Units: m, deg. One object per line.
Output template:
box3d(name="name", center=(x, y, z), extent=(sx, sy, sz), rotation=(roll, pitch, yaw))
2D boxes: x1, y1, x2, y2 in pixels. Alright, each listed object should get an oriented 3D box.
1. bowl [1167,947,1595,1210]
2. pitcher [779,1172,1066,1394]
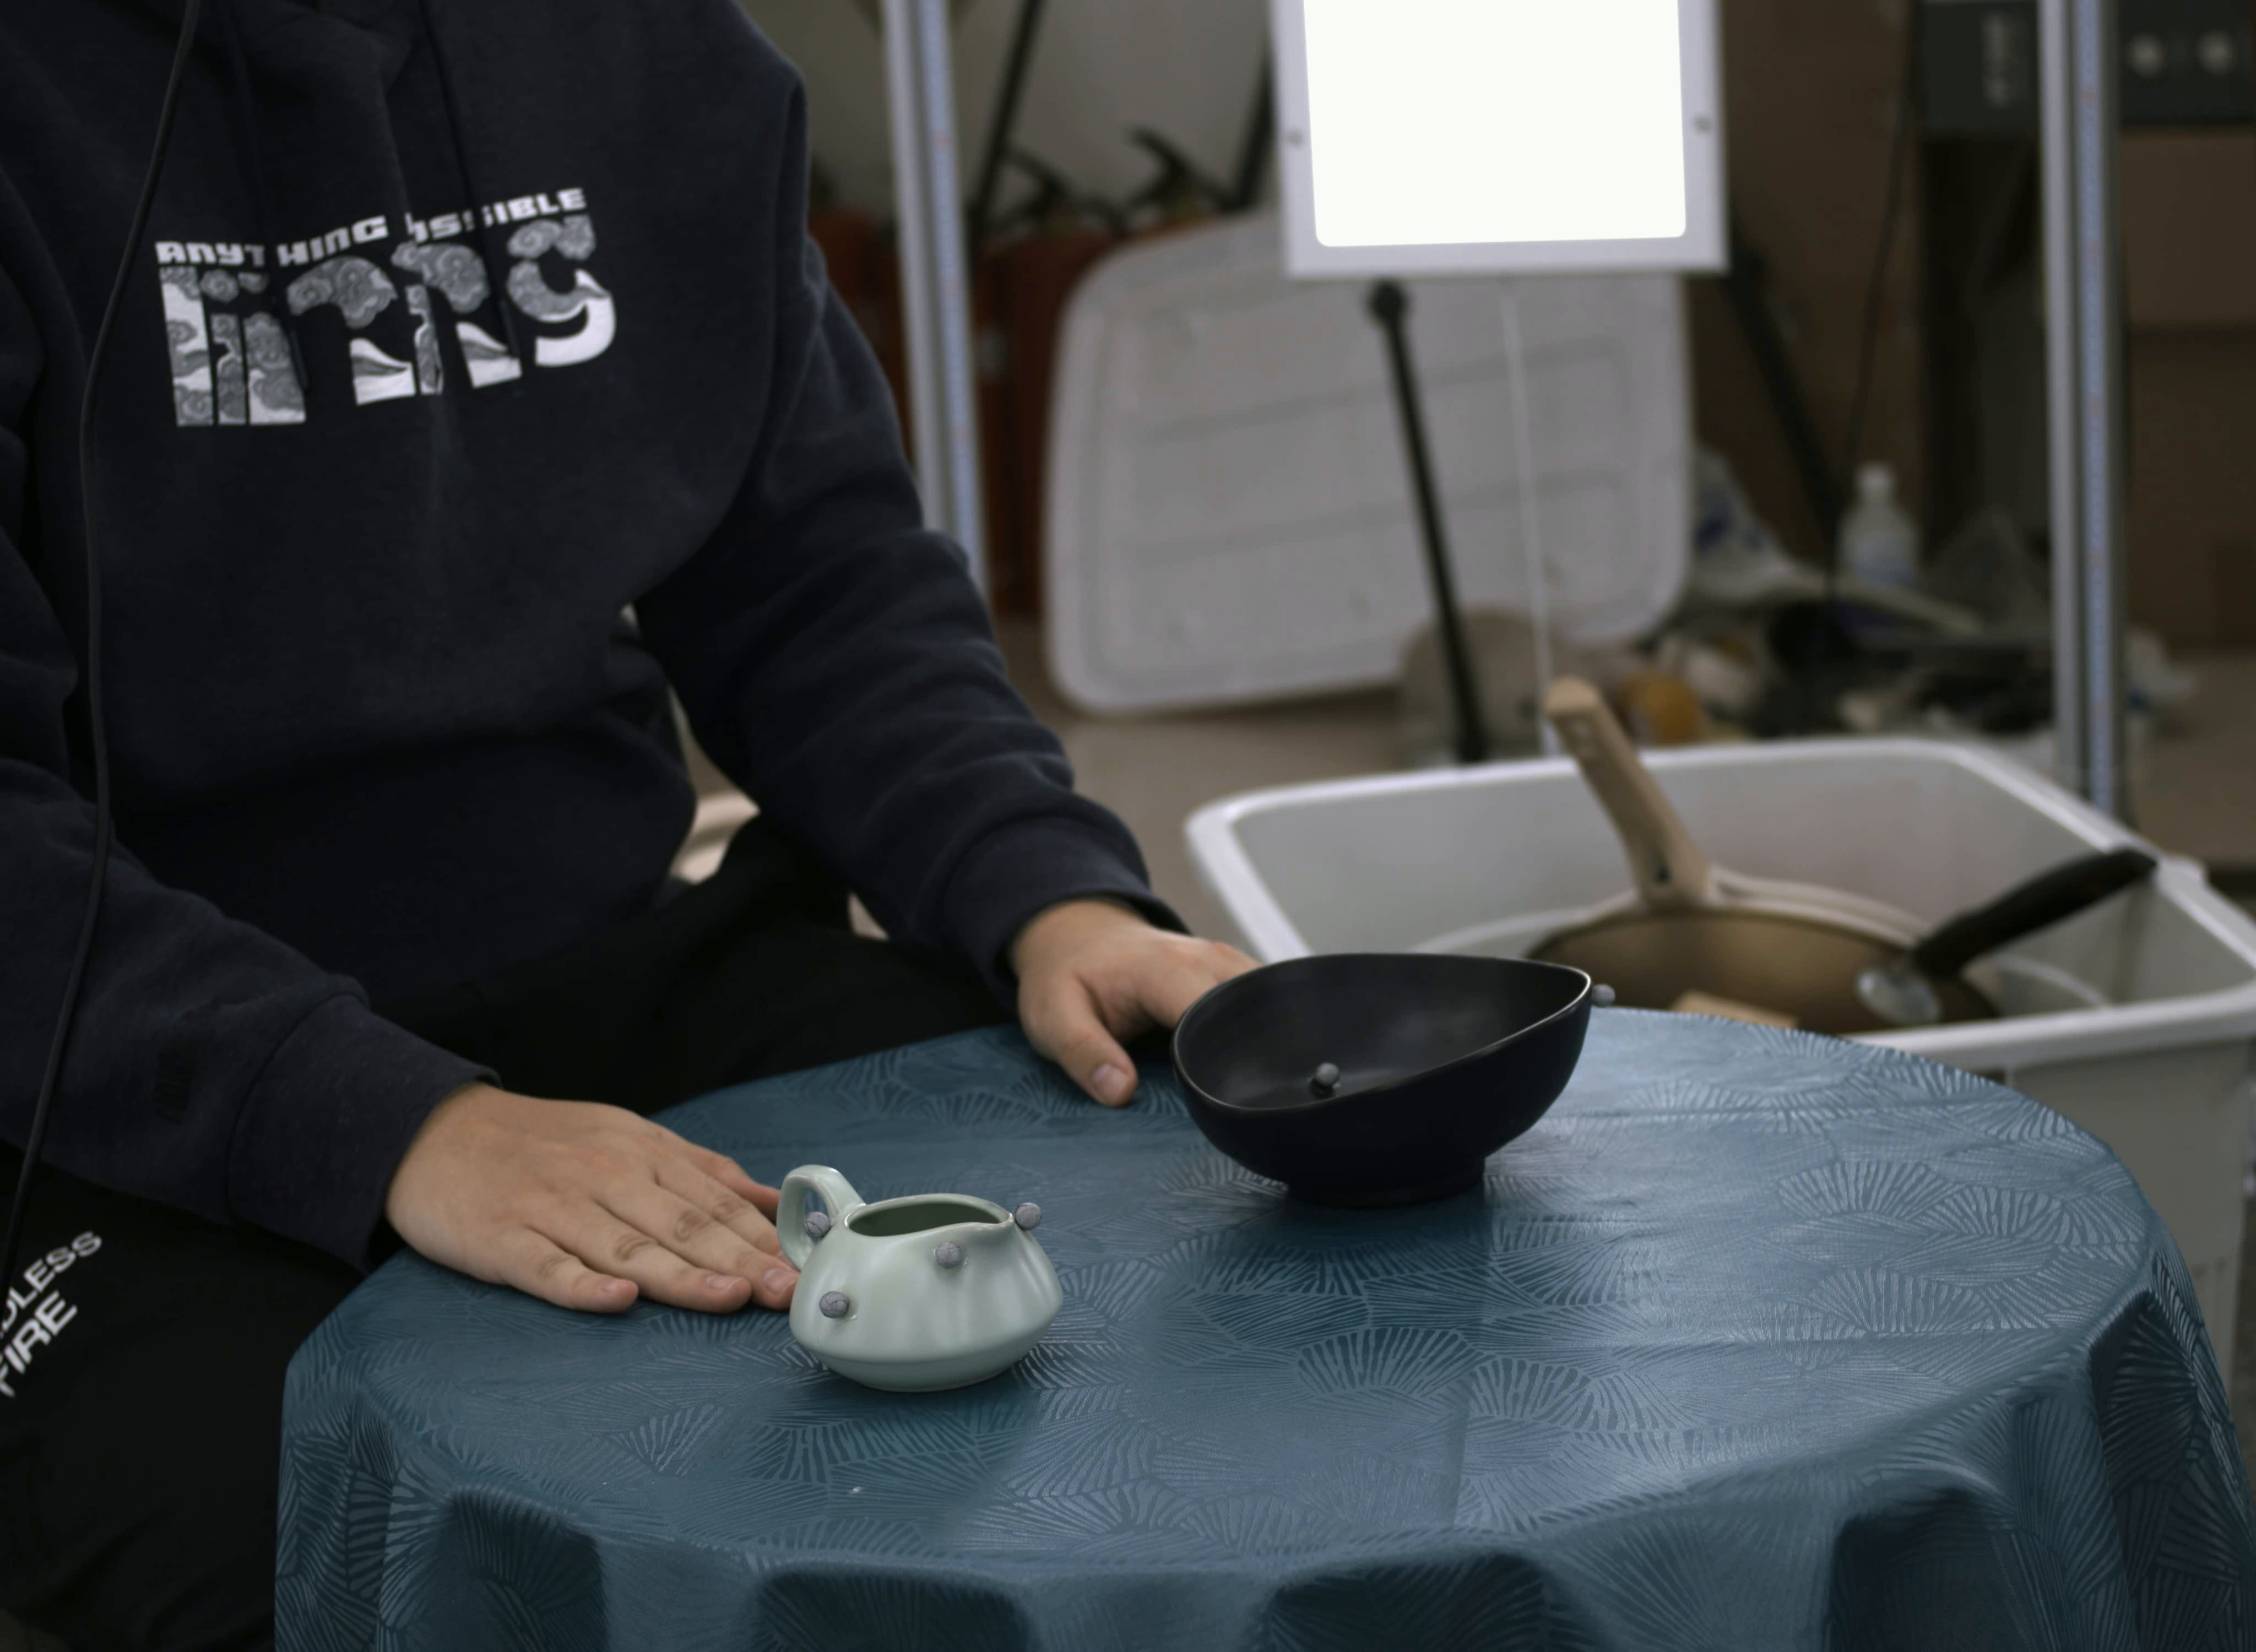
box3d(name="bowl", center=(0.089, 0.090, 1.883), extent=(0.140, 0.067, 0.166), rotation=(4, 17, 35))
box3d(name="pitcher", center=(-0.072, 0.143, 1.737), extent=(0.084, 0.060, 0.110), rotation=(-16, 15, -43))
